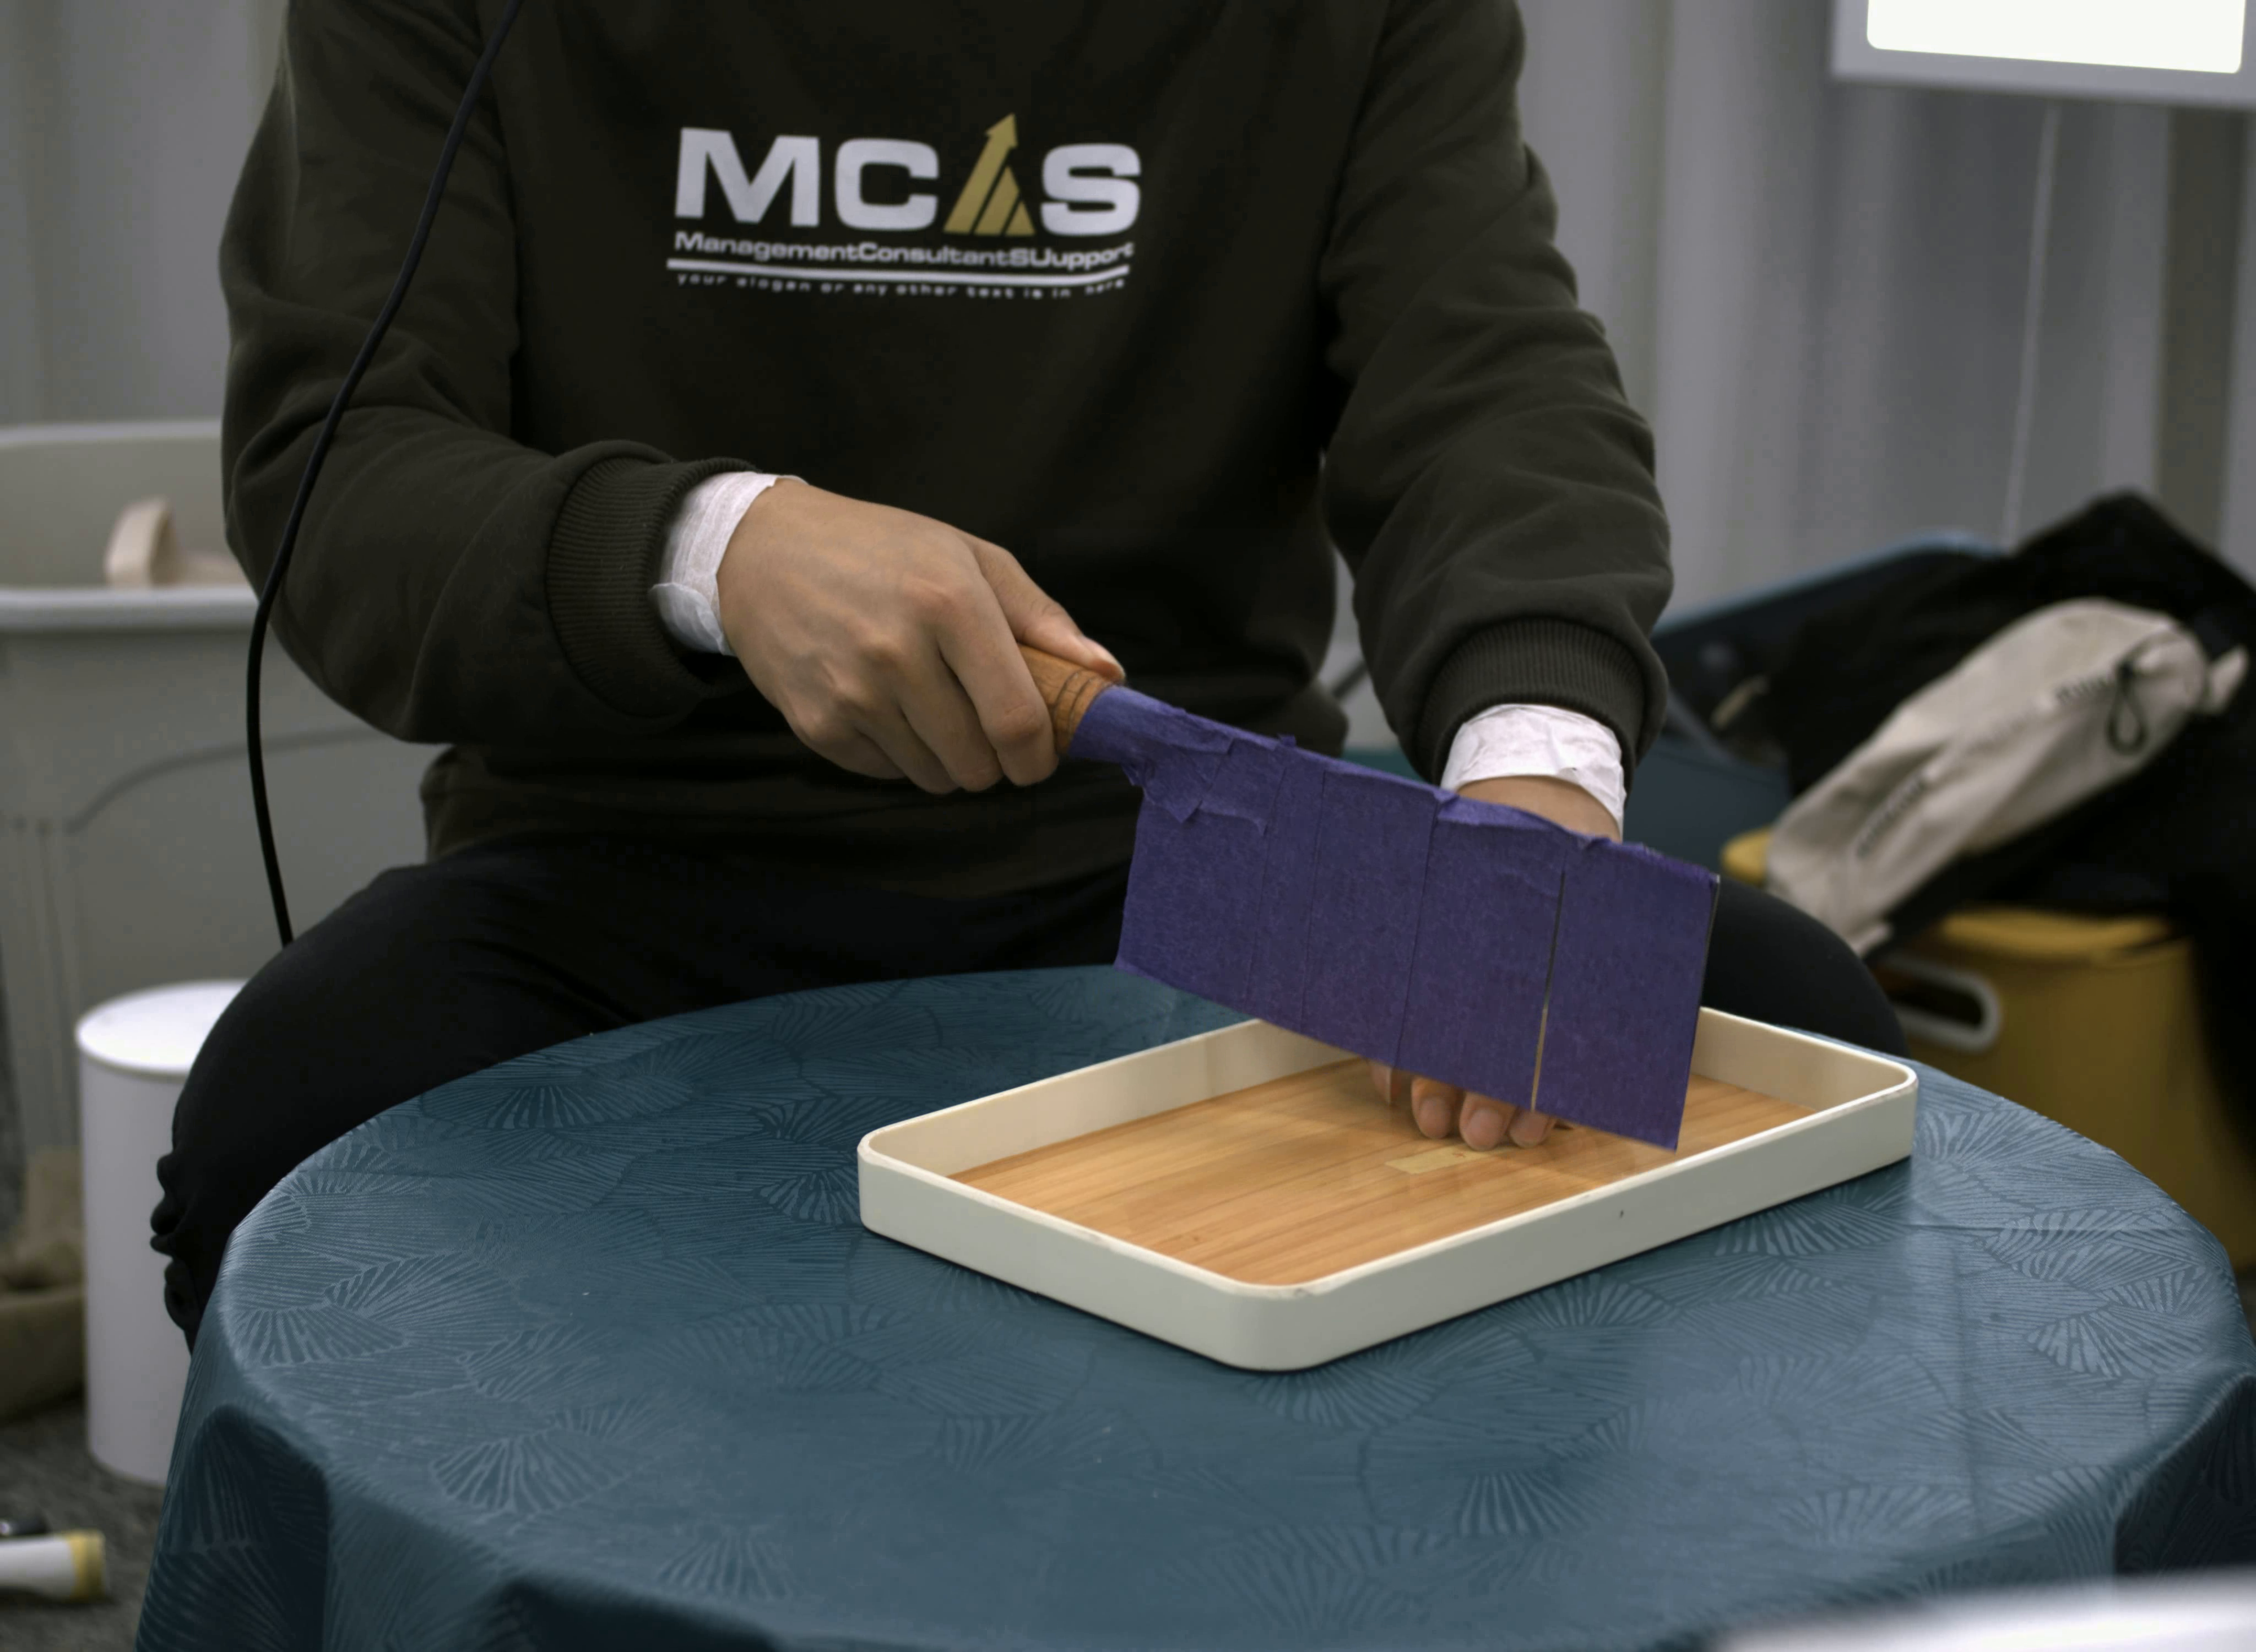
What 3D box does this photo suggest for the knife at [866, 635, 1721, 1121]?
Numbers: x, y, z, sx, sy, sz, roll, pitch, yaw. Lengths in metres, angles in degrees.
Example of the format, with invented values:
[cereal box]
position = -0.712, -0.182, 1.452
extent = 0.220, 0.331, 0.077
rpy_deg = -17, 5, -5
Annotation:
[knife]
position = 0.043, 0.017, 1.661
extent = 0.311, 0.104, 0.032
rpy_deg = 17, 16, 32

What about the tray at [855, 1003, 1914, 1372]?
[tray]
position = 0.082, 0.098, 1.627
extent = 0.302, 0.027, 0.189
rpy_deg = -14, 22, -42
